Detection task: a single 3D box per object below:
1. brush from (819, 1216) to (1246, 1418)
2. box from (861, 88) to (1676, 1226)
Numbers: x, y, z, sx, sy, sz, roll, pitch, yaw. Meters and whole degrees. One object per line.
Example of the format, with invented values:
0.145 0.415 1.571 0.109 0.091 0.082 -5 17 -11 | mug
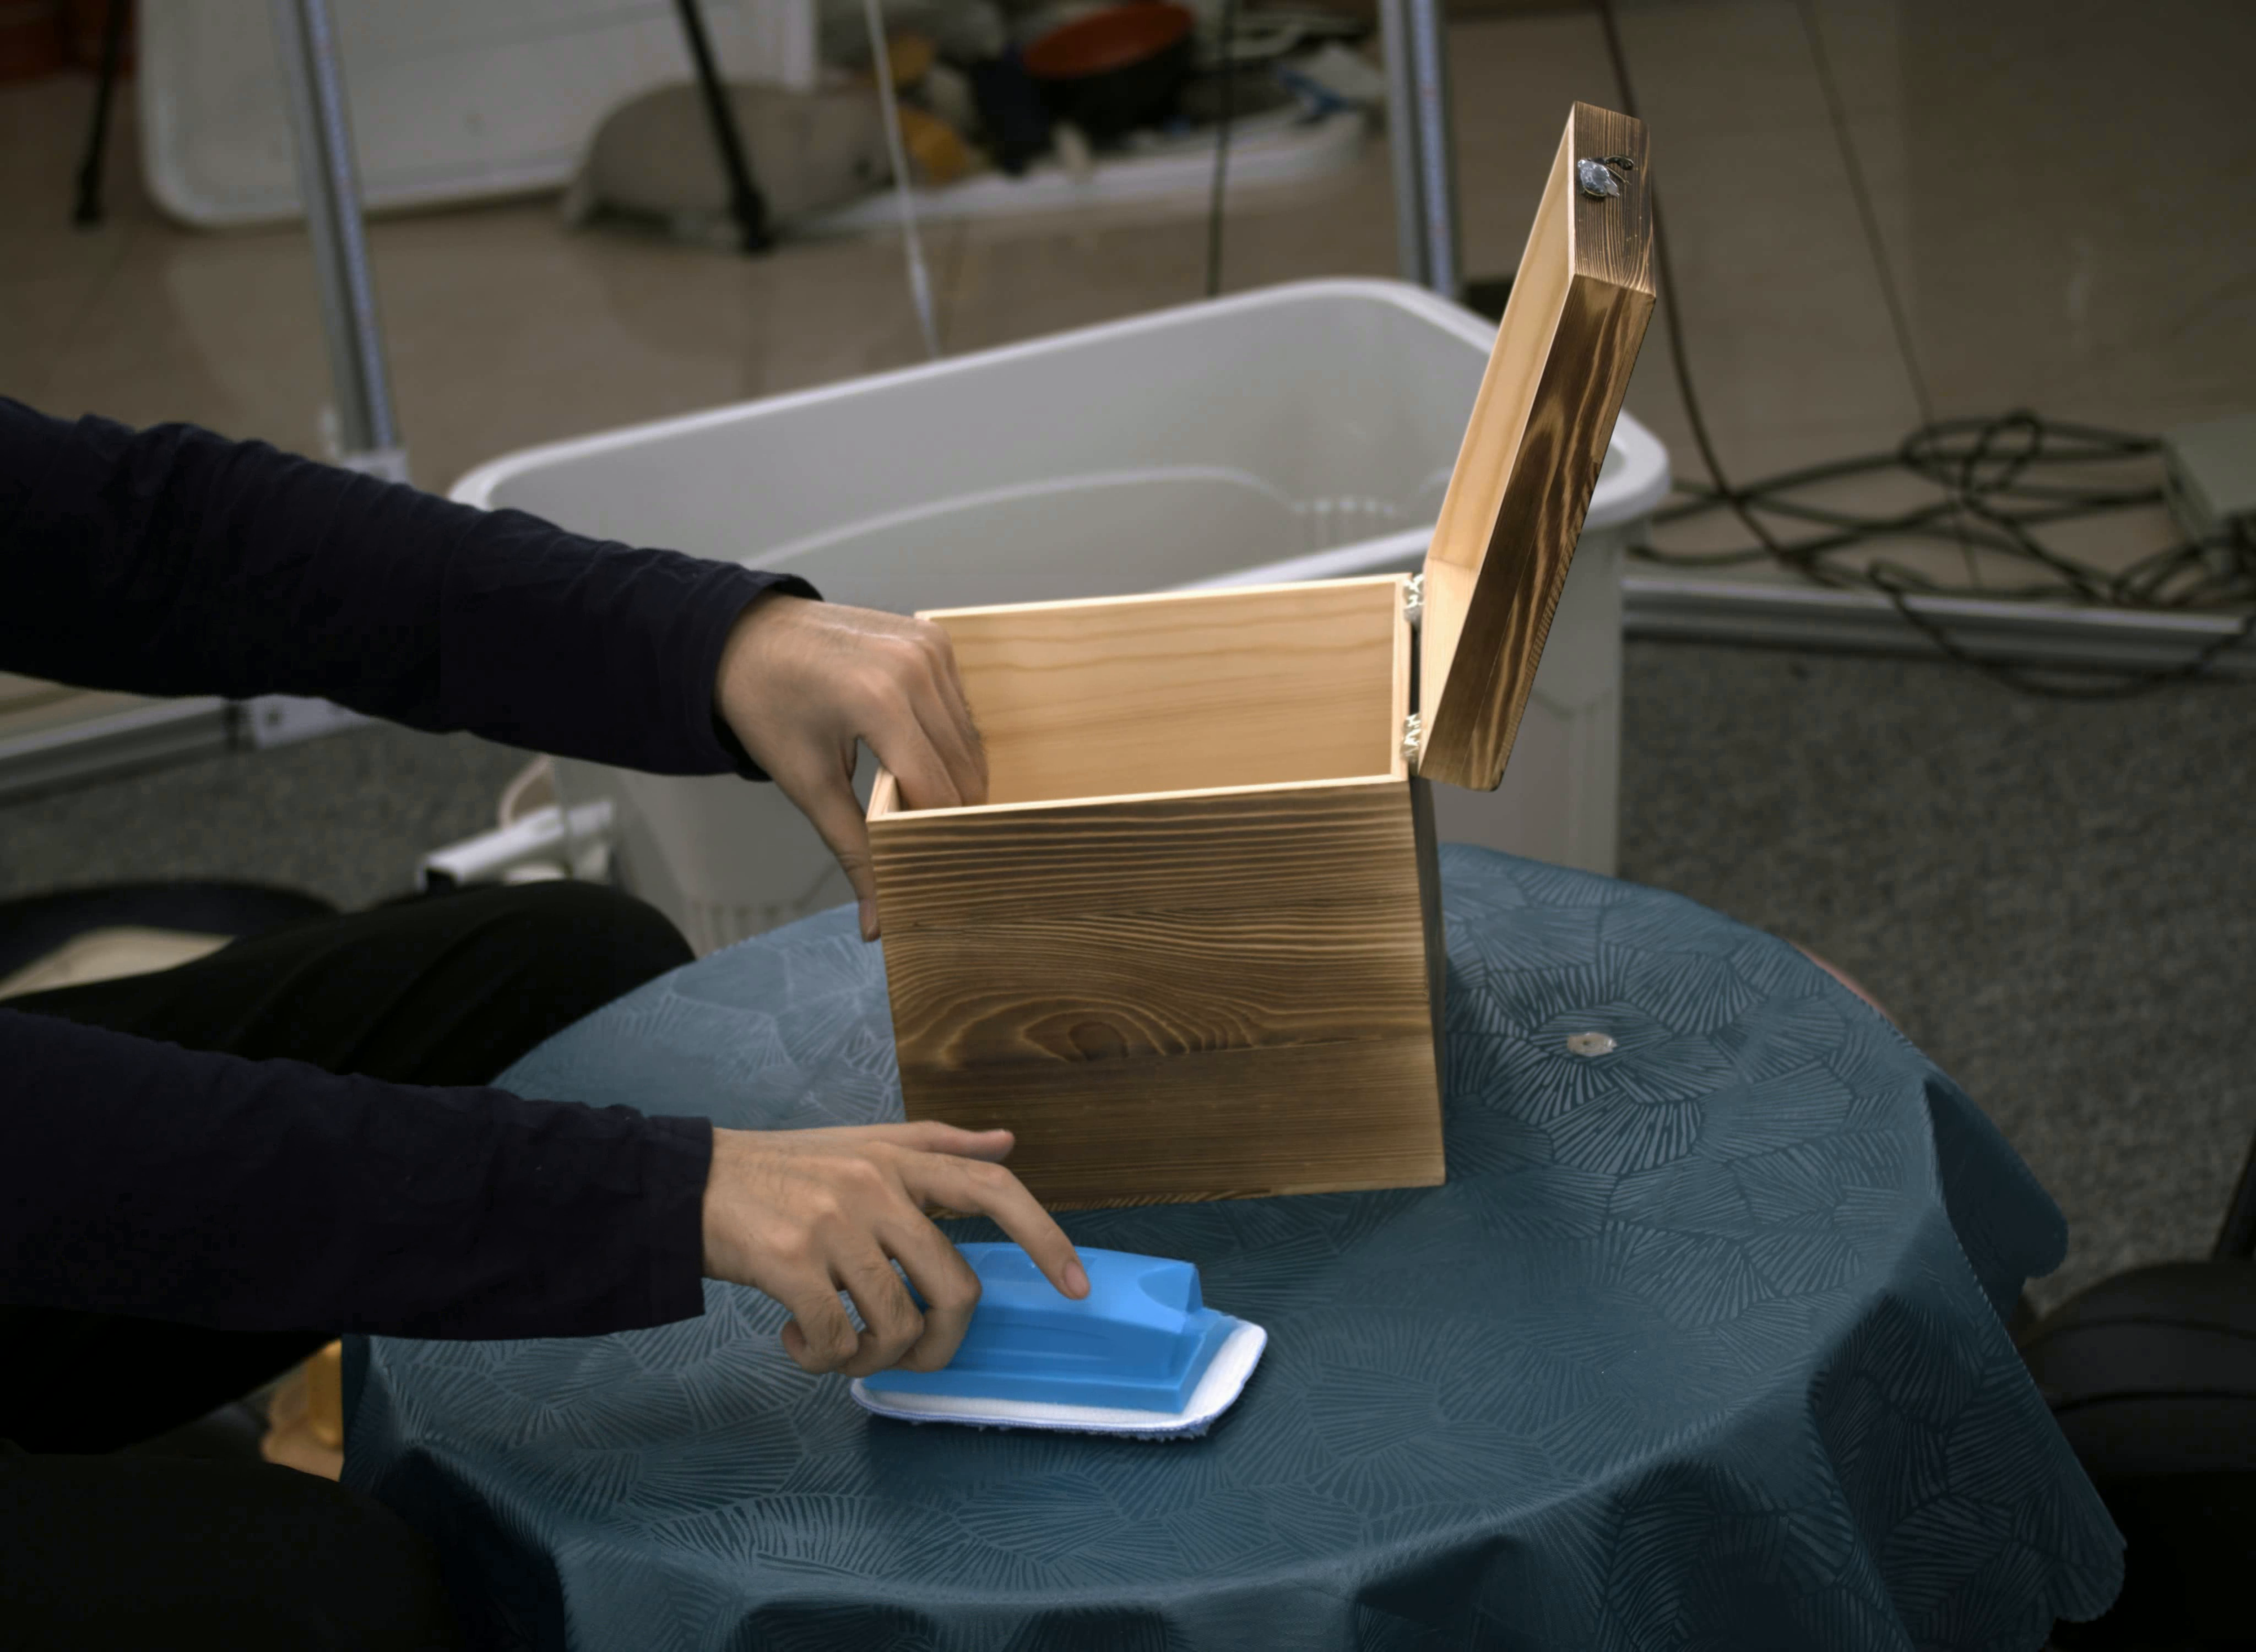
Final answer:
-0.034 0.172 2.012 0.143 0.057 0.083 5 24 20 | brush
0.057 -0.068 2.142 0.321 0.381 0.205 -5 25 5 | box
